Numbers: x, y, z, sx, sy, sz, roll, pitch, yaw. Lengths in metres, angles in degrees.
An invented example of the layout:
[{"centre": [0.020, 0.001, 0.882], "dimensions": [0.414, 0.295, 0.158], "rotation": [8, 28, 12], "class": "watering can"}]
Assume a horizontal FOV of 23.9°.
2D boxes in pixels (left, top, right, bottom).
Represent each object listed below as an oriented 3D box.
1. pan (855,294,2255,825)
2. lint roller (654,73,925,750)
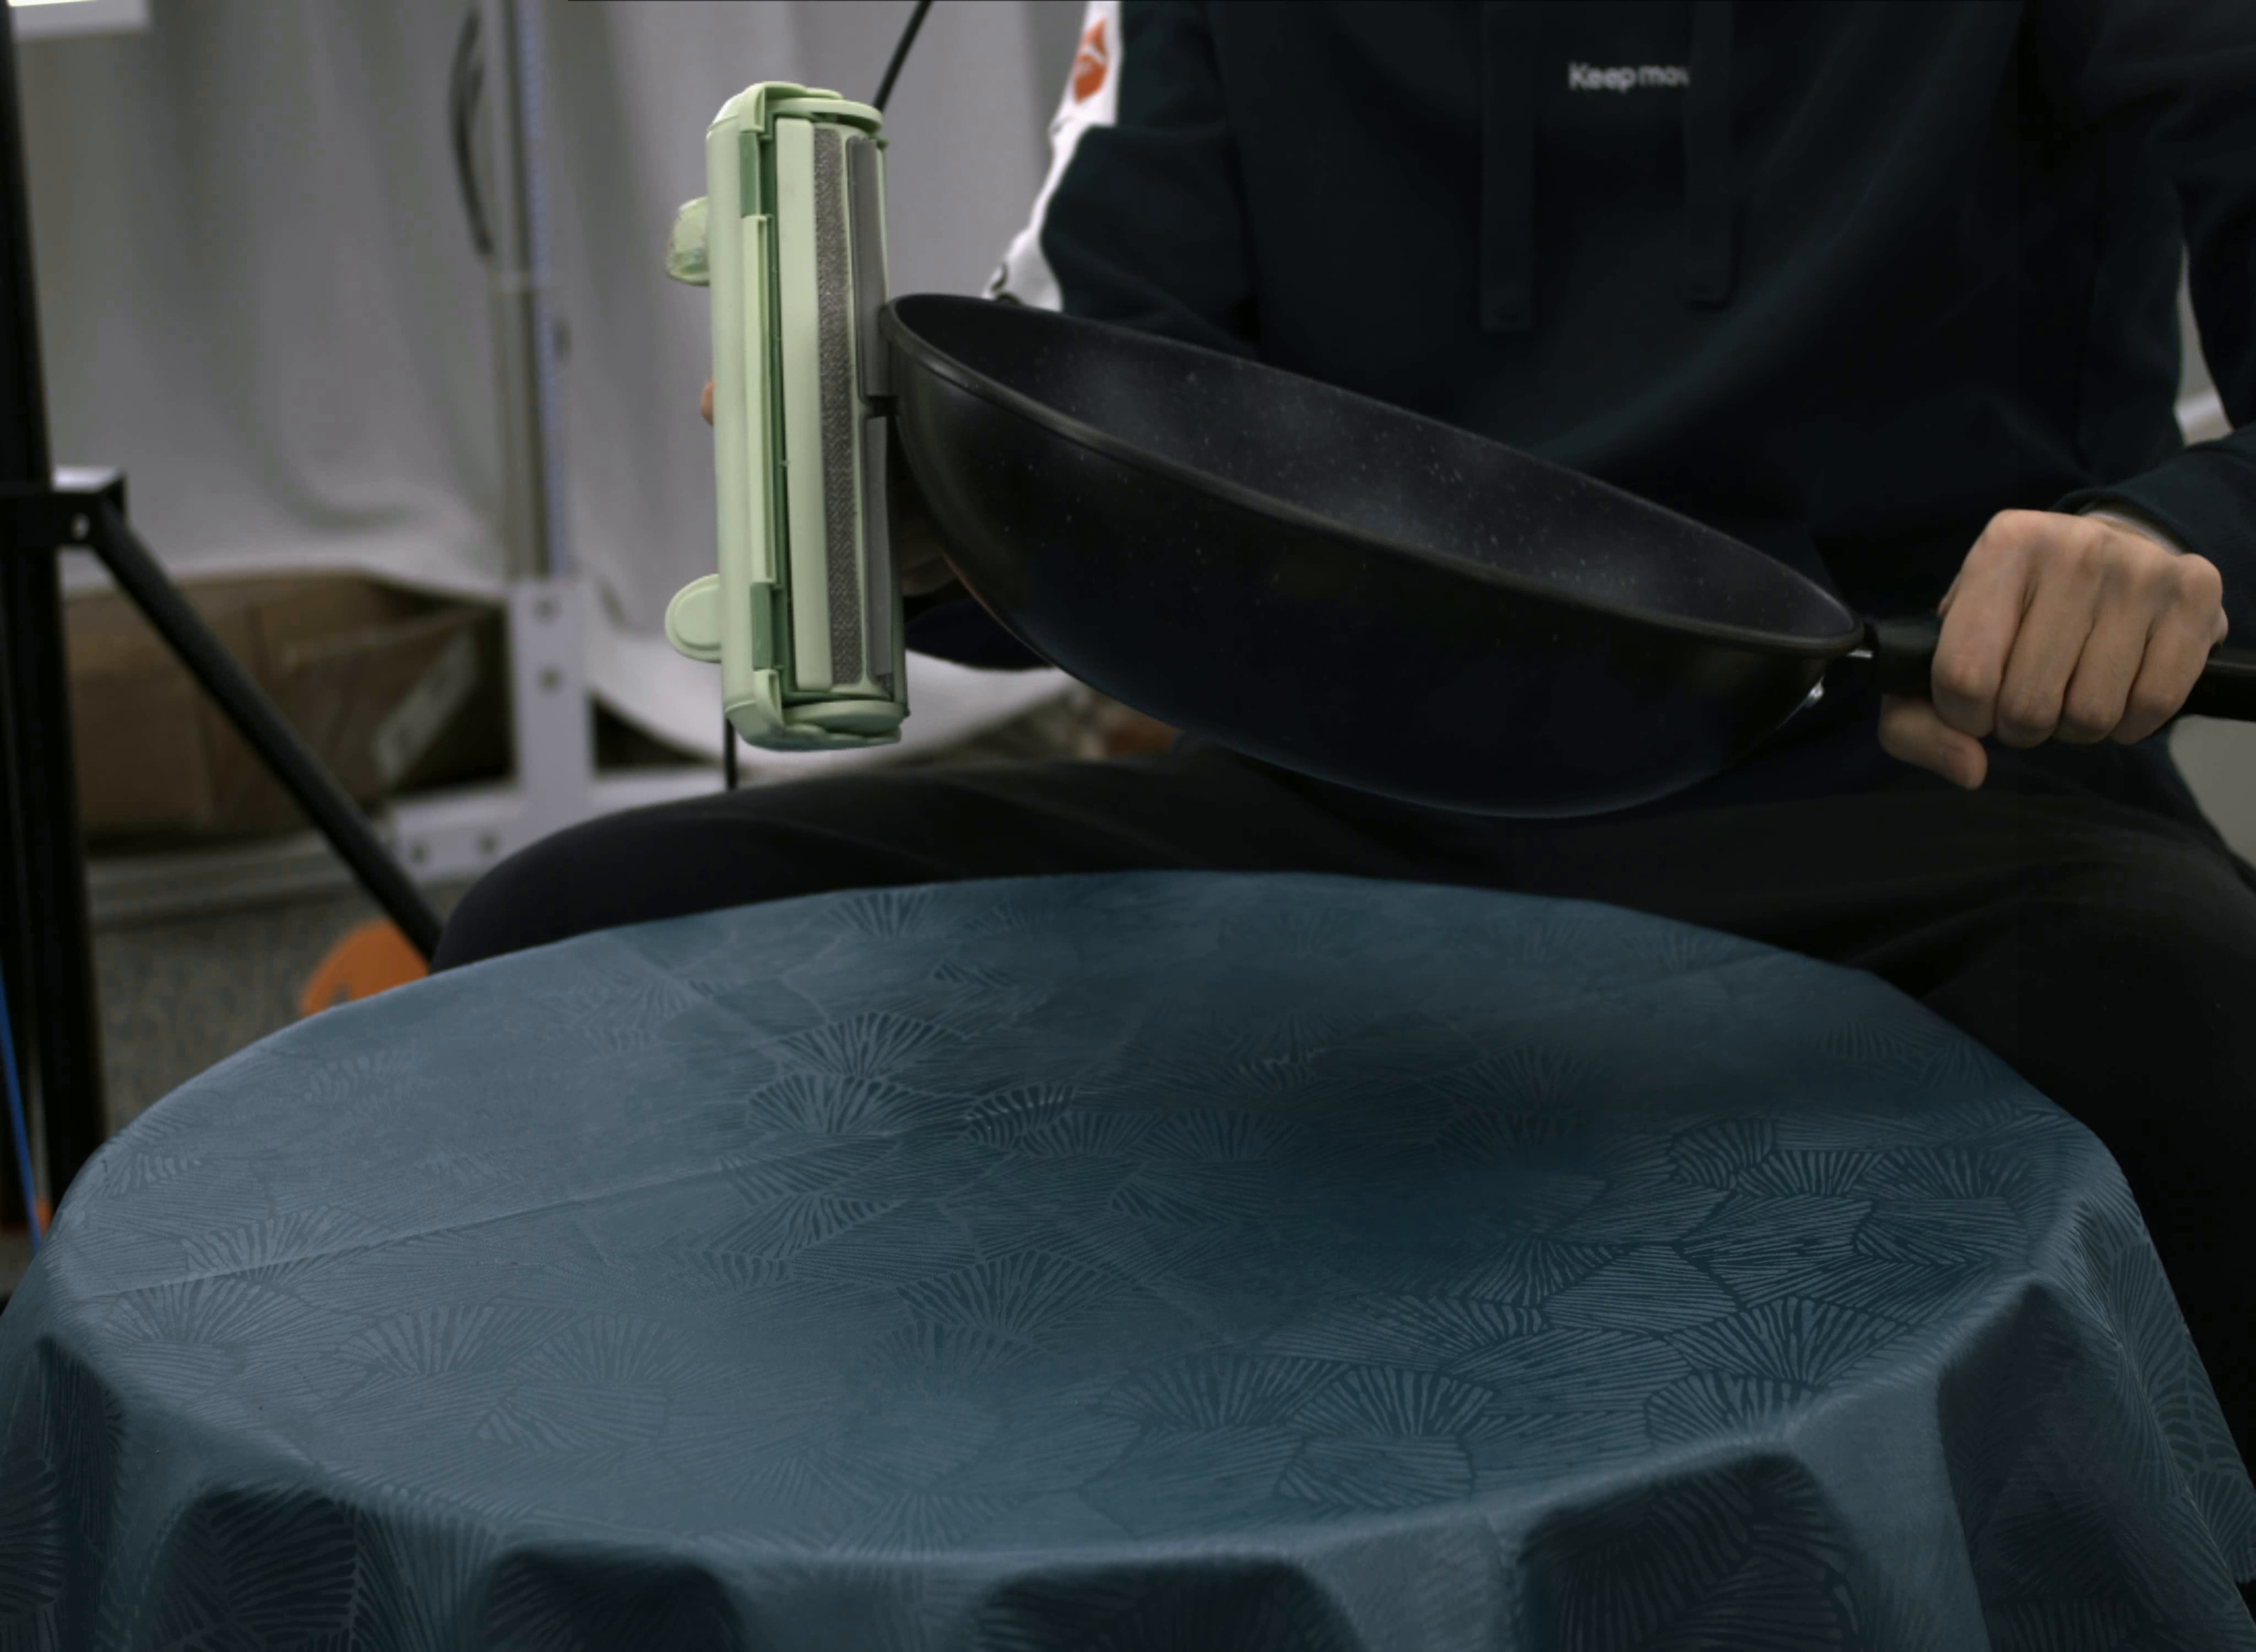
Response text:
[{"centre": [0.137, -0.057, 1.601], "dimensions": [0.472, 0.112, 0.312], "rotation": [16, 12, -7], "class": "pan"}, {"centre": [-0.097, -0.114, 1.651], "dimensions": [0.082, 0.200, 0.182], "rotation": [-3, -10, 5], "class": "lint roller"}]
